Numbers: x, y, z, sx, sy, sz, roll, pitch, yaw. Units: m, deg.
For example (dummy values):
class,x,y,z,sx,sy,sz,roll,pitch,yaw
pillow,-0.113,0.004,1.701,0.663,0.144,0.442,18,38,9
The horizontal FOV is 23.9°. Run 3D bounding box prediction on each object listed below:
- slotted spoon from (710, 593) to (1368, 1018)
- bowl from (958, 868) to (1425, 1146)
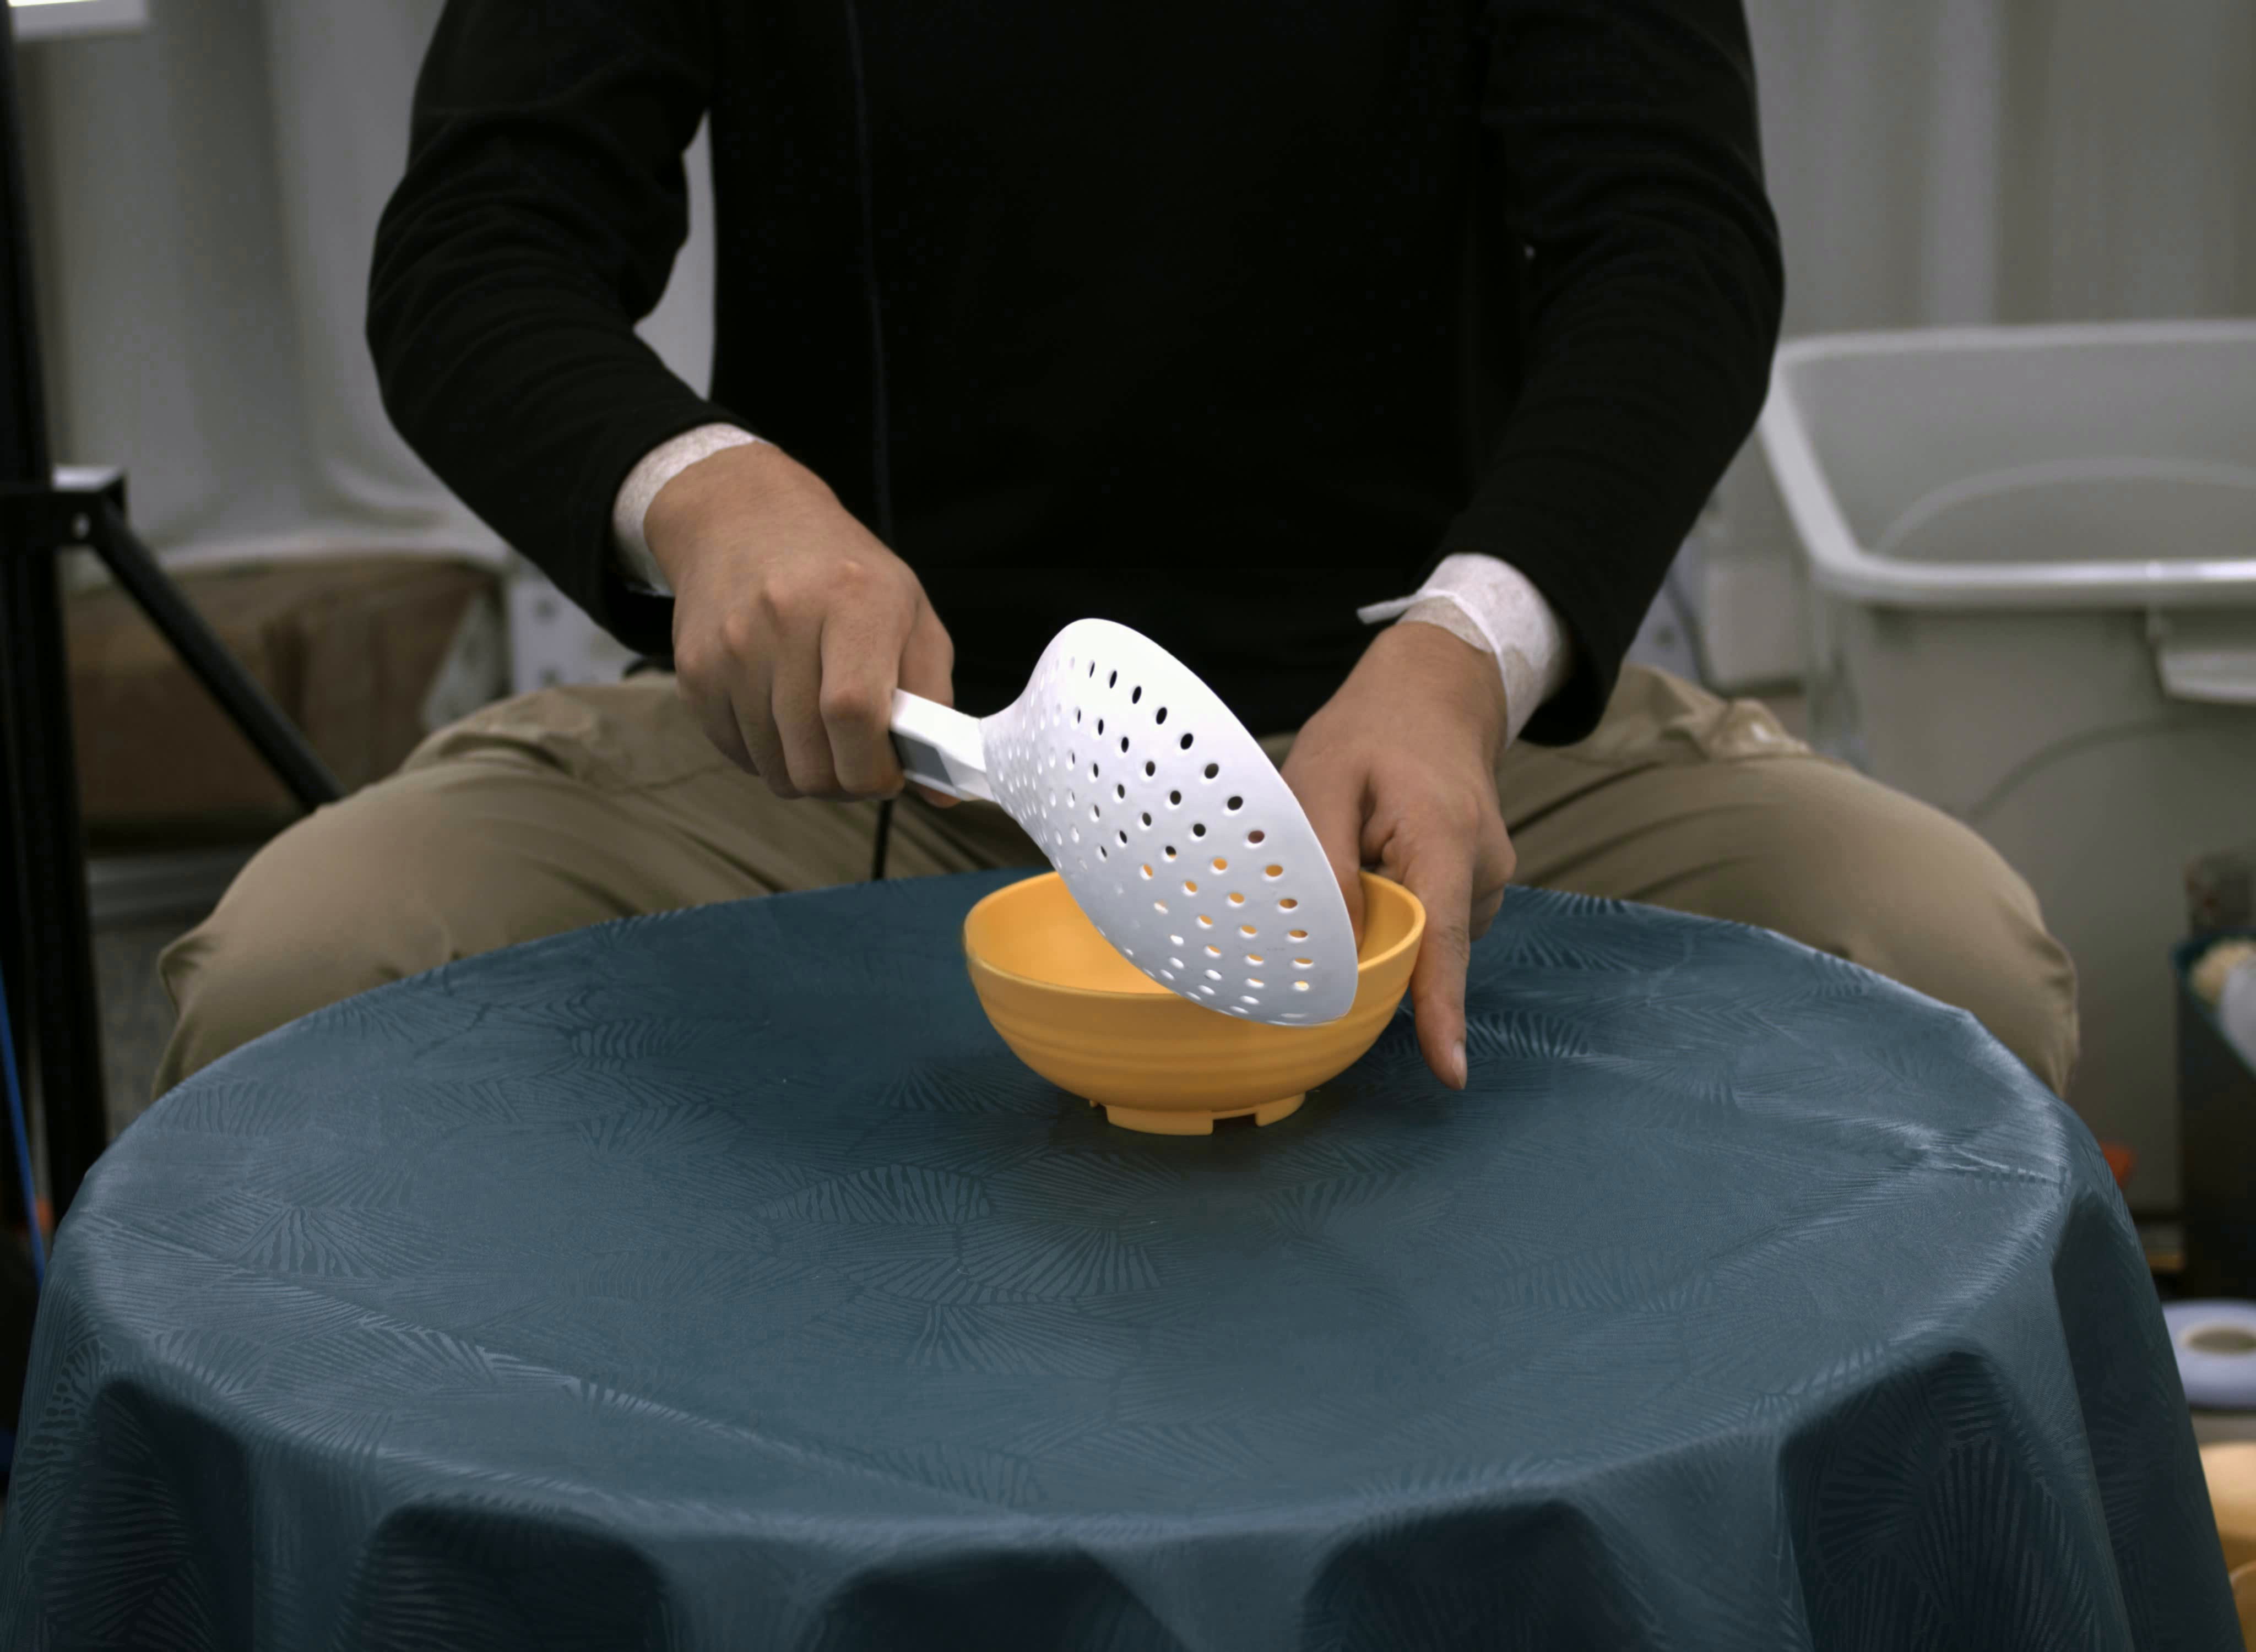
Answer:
class,x,y,z,sx,sy,sz,roll,pitch,yaw
slotted spoon,-0.038,-0.021,1.597,0.045,0.135,0.357,-28,23,-19
bowl,0.019,0.060,1.630,0.144,0.060,0.146,0,16,-1
